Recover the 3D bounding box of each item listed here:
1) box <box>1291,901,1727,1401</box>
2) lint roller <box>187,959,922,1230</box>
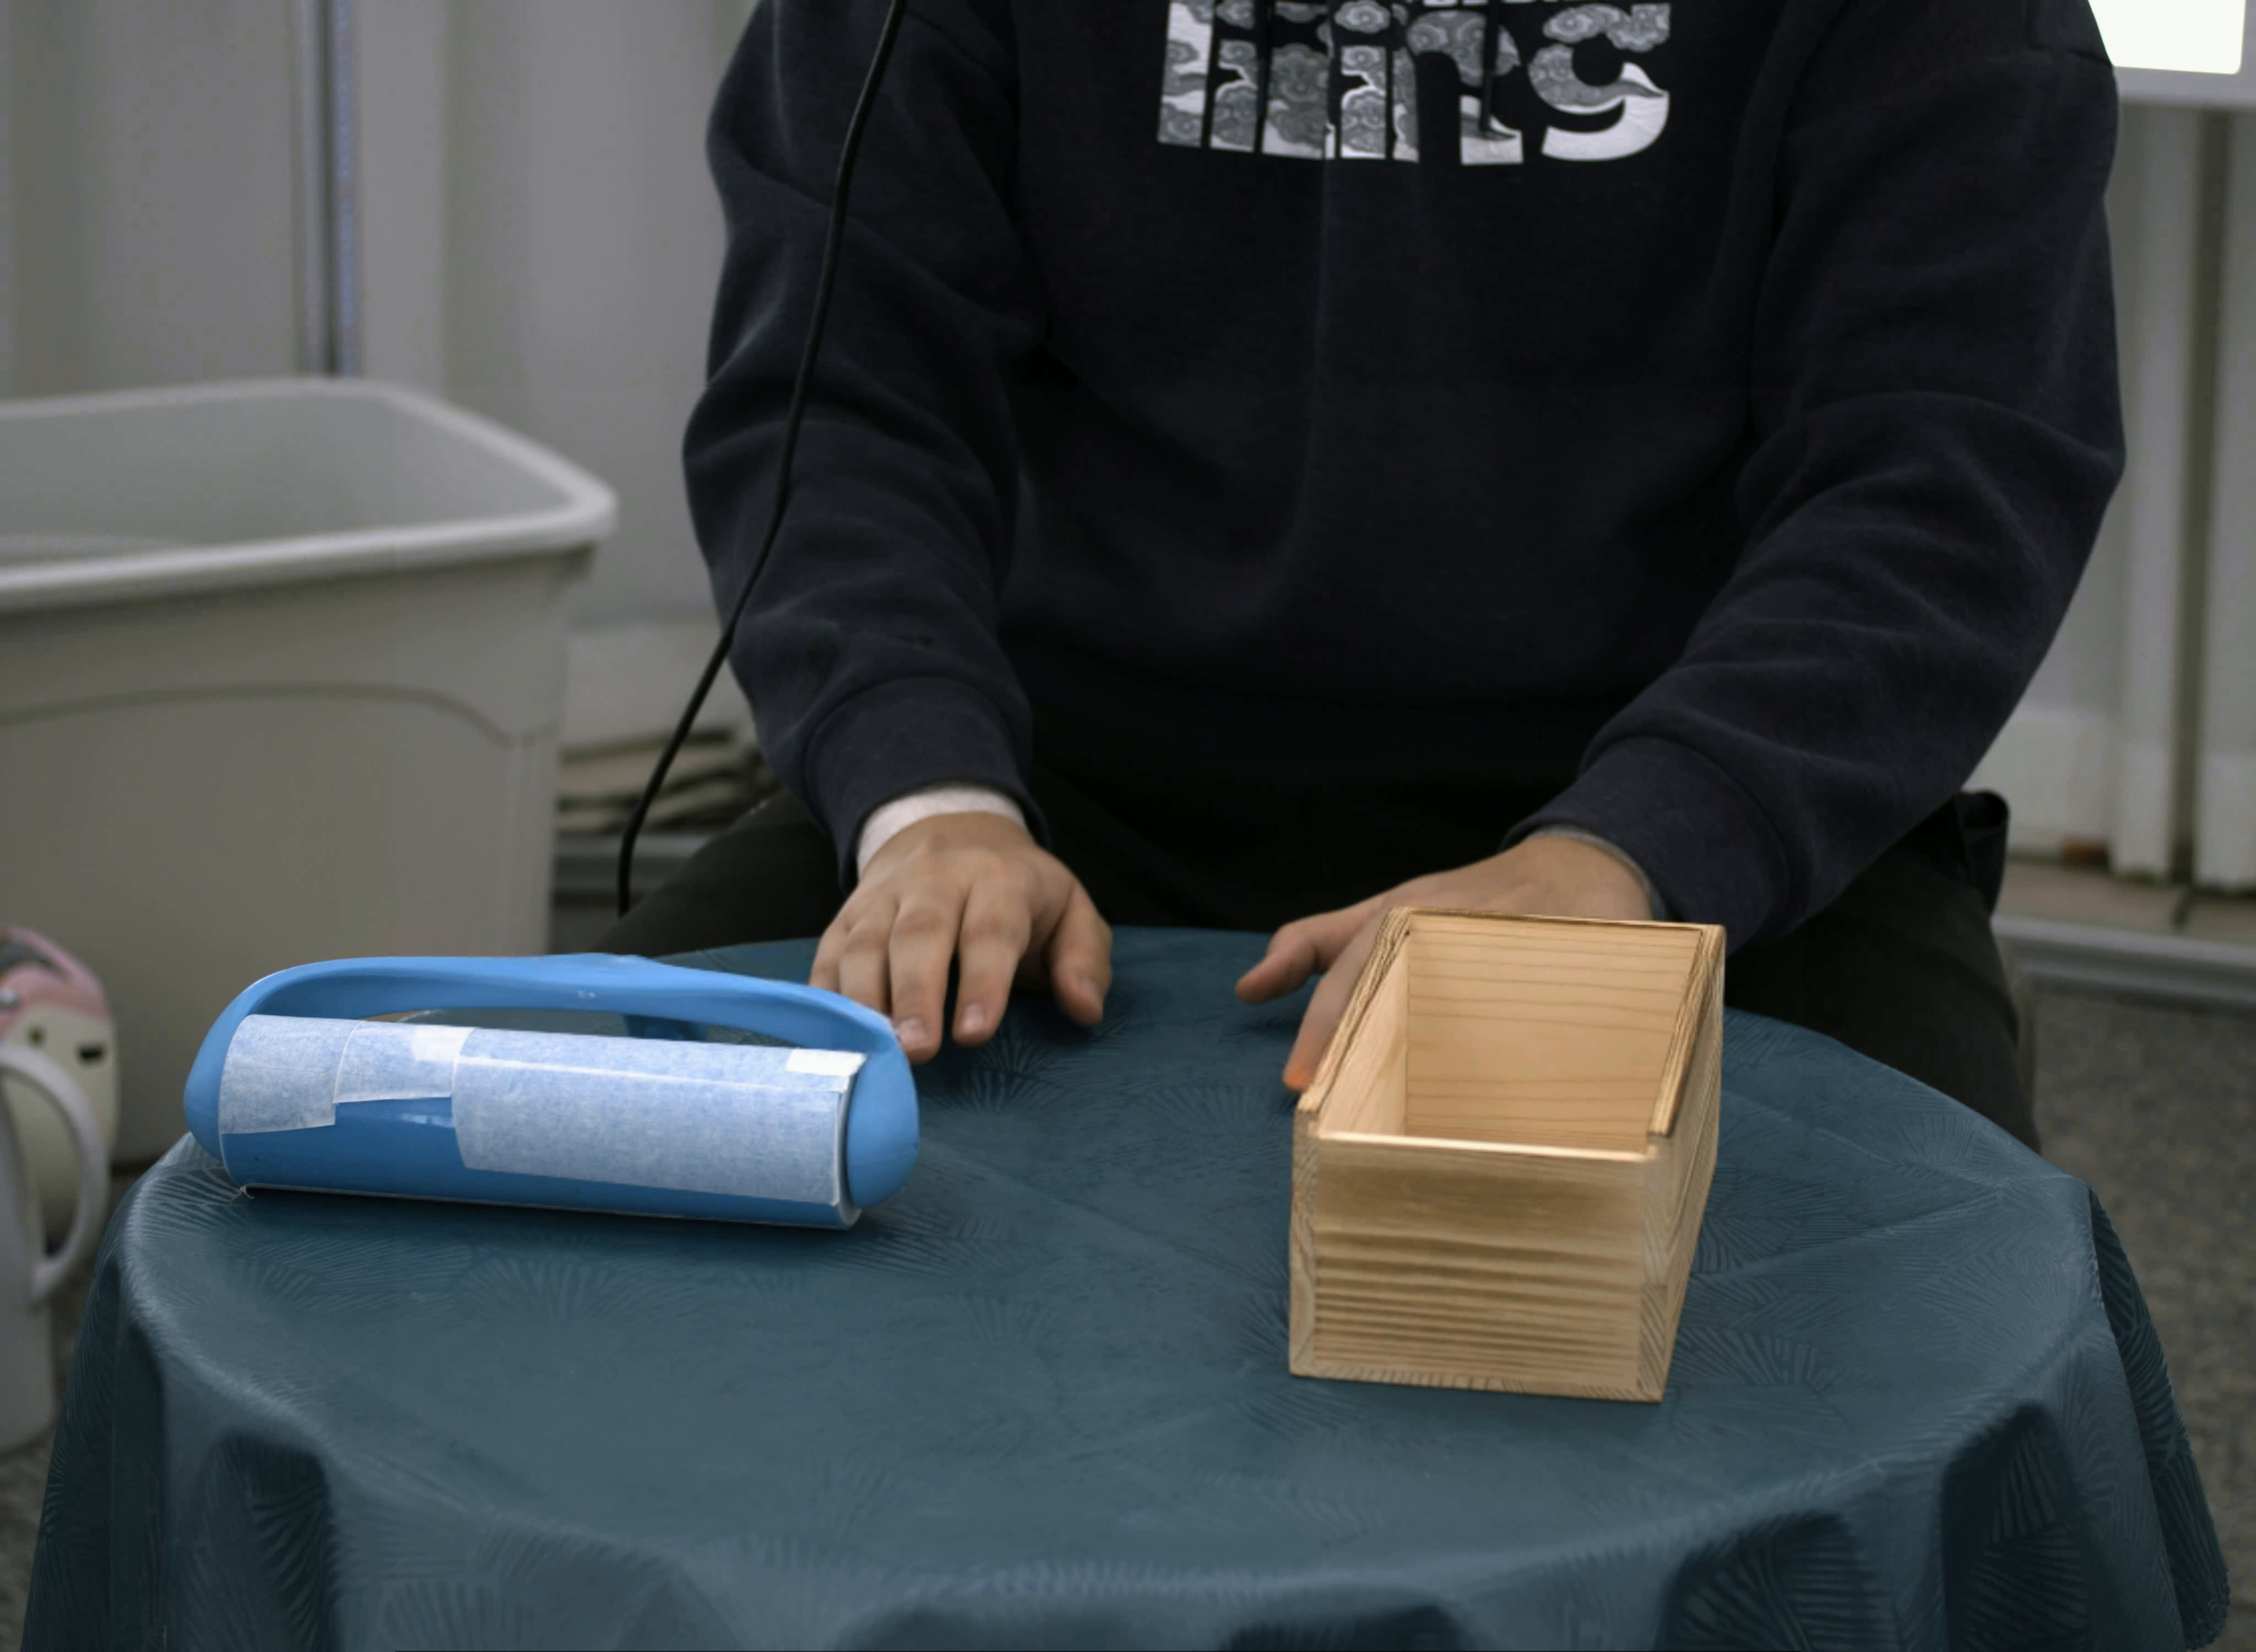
[{"bbox_3d":[0.116,0.092,1.557,0.107,0.081,0.211,3,16,9],"label":"box"},{"bbox_3d":[-0.166,0.072,1.653,0.227,0.068,0.179,1,17,8],"label":"lint roller"}]
